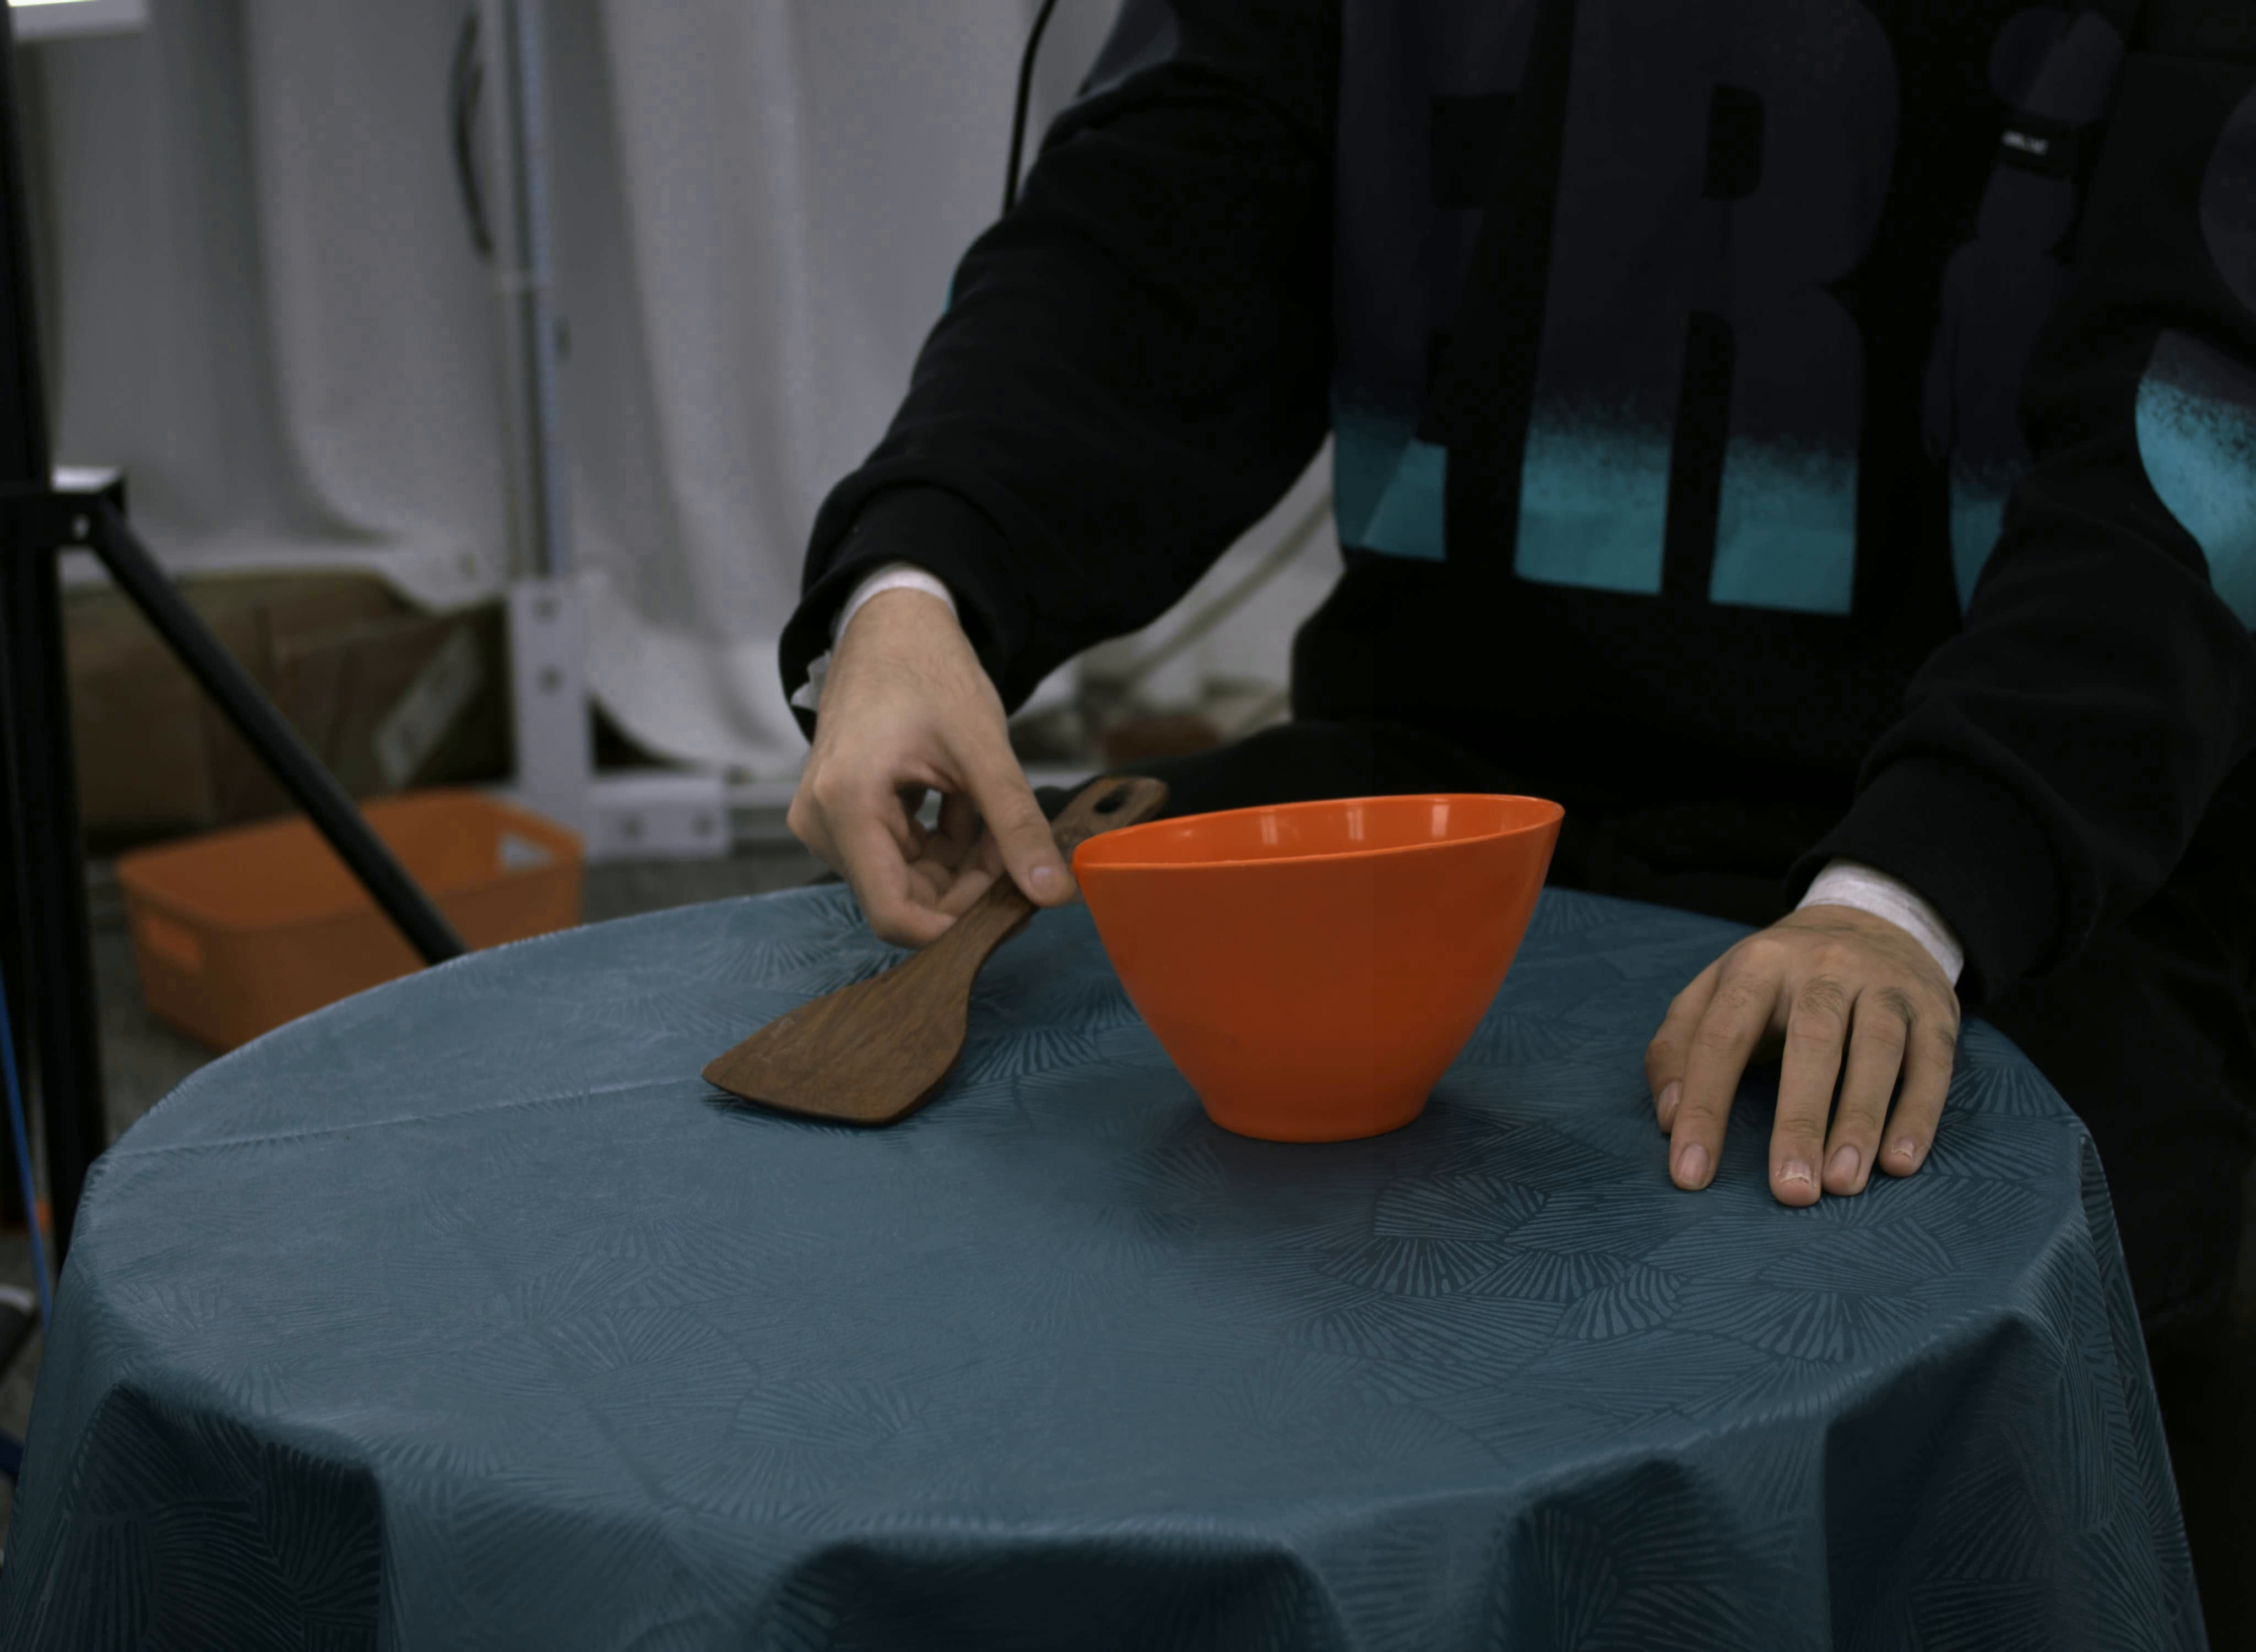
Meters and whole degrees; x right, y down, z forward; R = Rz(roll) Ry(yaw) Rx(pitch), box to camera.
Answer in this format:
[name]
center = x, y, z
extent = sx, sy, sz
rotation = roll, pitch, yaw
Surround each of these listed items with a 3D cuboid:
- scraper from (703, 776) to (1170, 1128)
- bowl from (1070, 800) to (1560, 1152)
[scraper]
center = -0.050, 0.038, 1.710
extent = 0.077, 0.011, 0.208
rotation = 12, 37, 32
[bowl]
center = 0.057, 0.042, 1.600
extent = 0.147, 0.104, 0.149
rotation = -3, 14, -1
